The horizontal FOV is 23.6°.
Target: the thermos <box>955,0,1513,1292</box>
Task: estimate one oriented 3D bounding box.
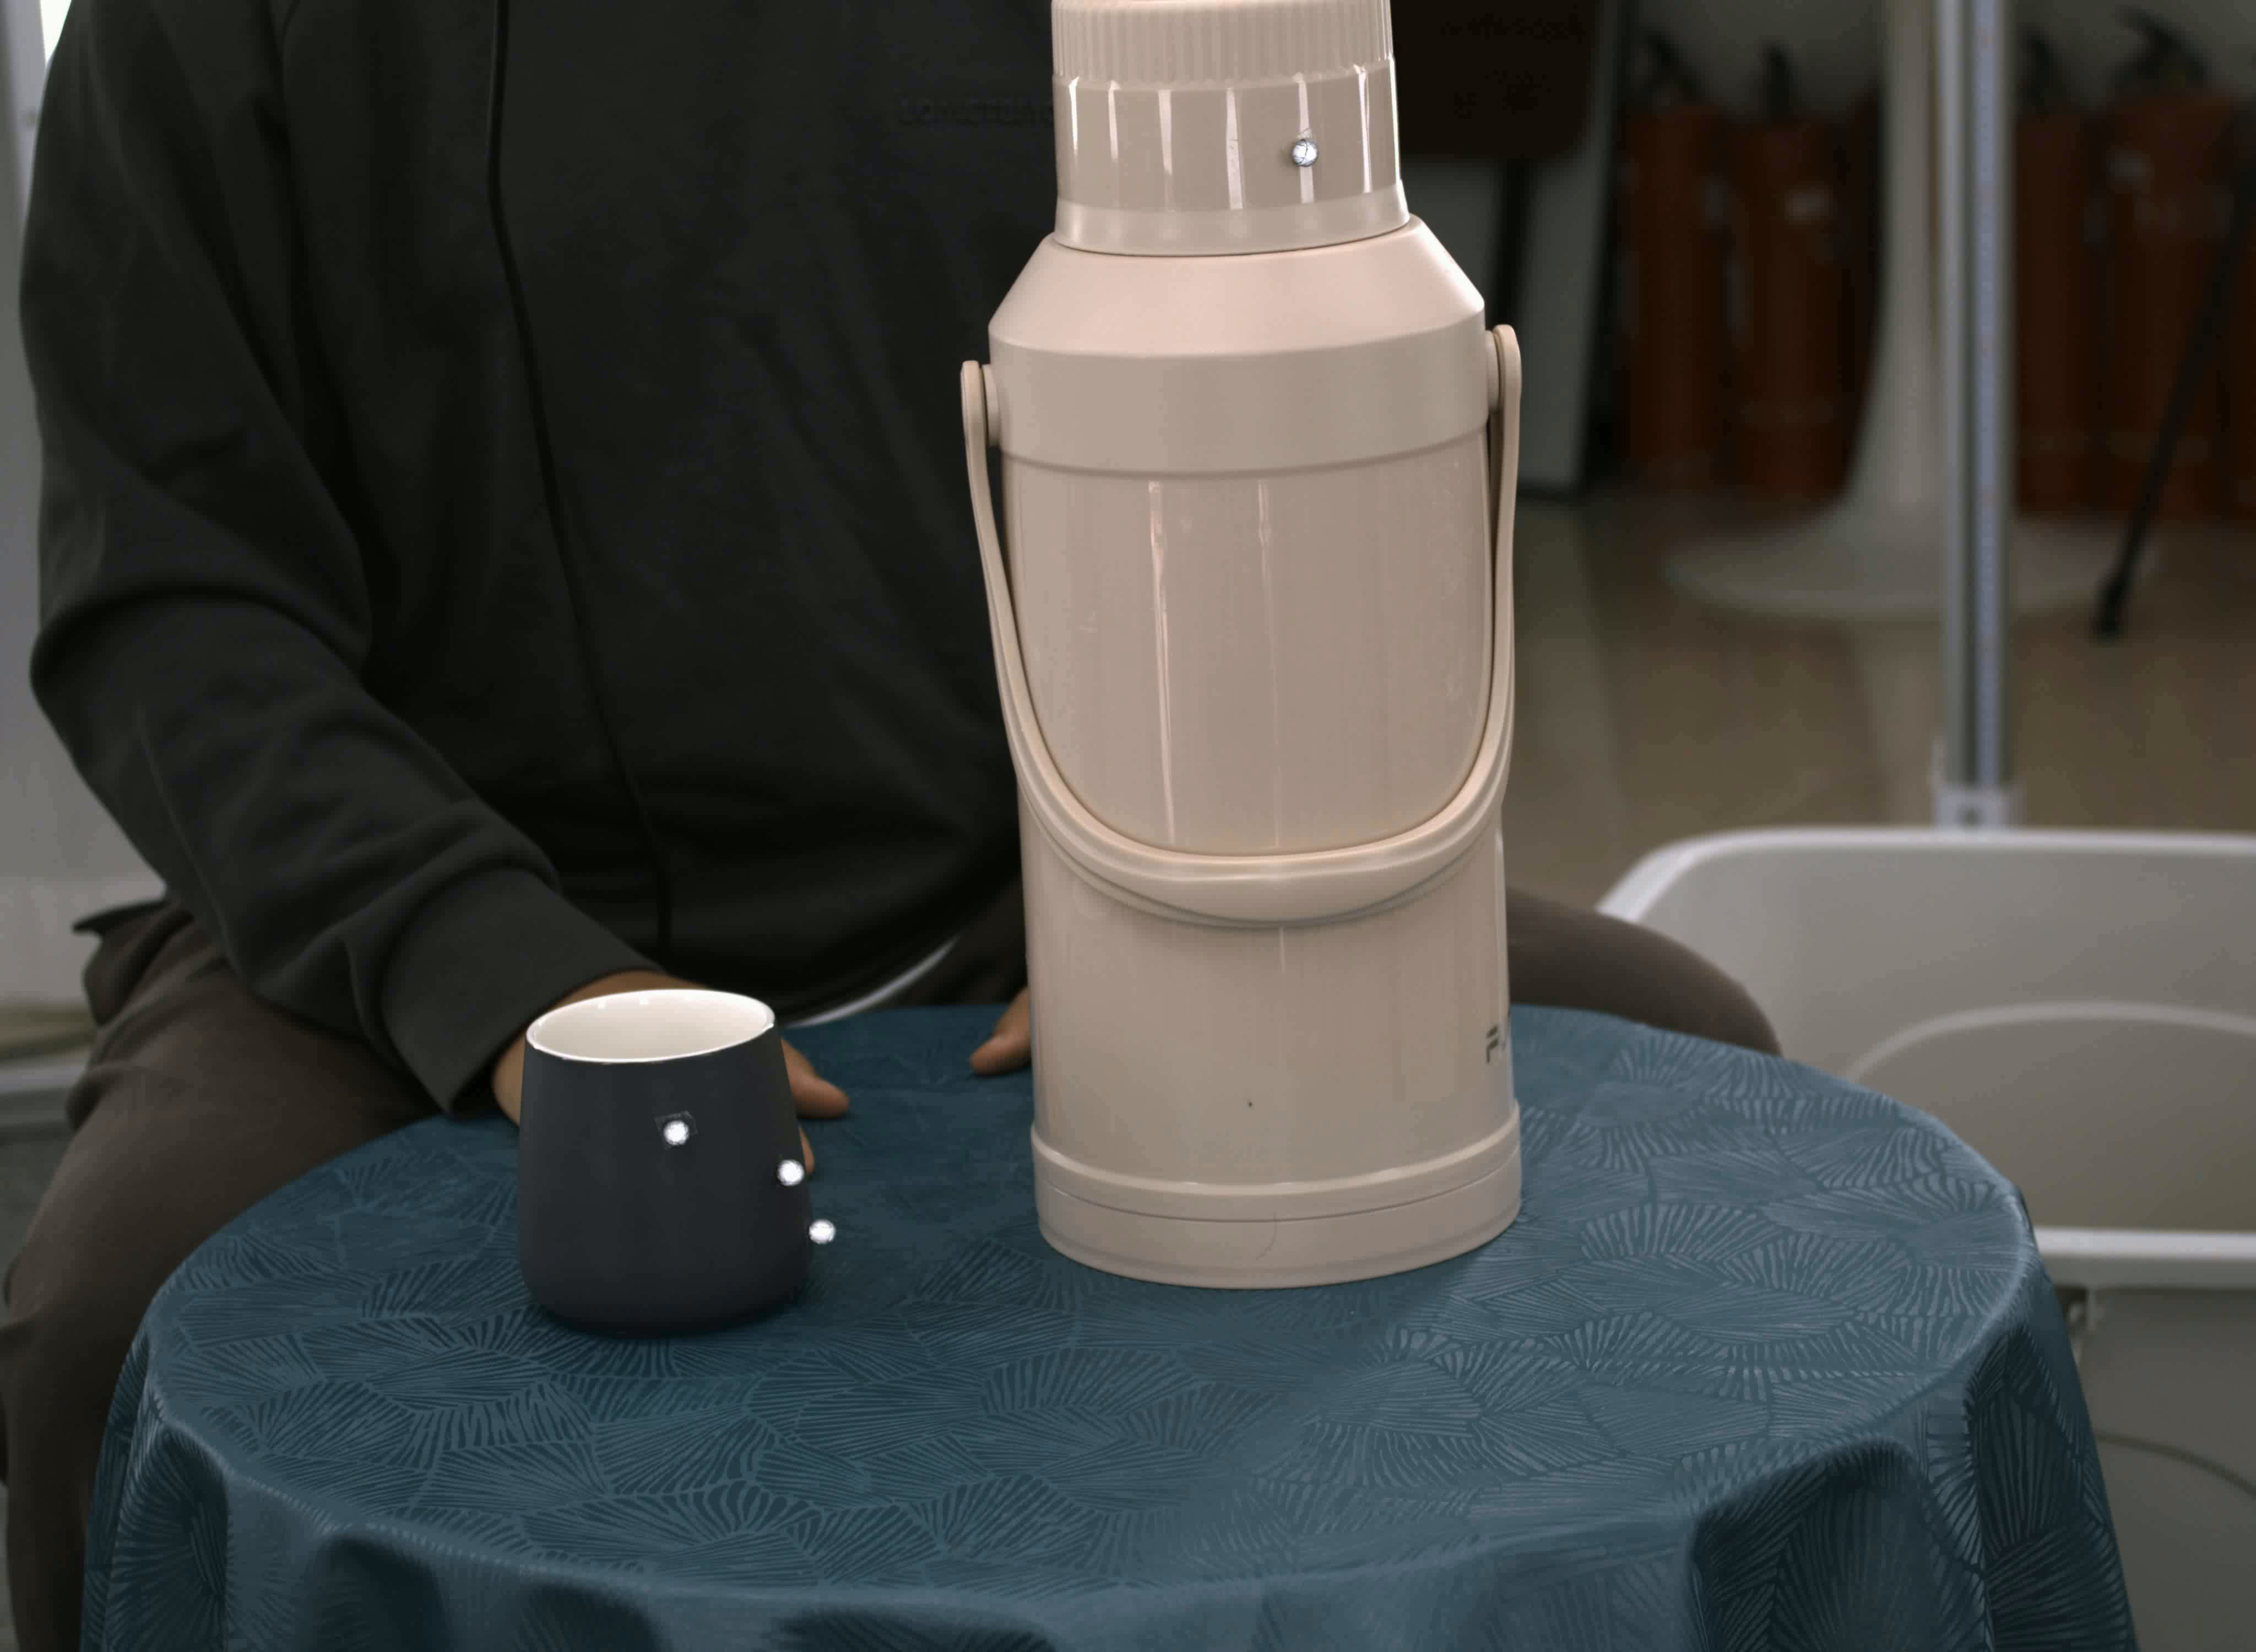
[{"bbox_3d":[0.036,-0.072,1.713,0.173,0.411,0.208,-5,14,-4],"label":"thermos"}]

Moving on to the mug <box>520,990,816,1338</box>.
[{"bbox_3d":[-0.148,0.102,1.702,0.092,0.091,0.124,-6,14,-11],"label":"mug"}]
